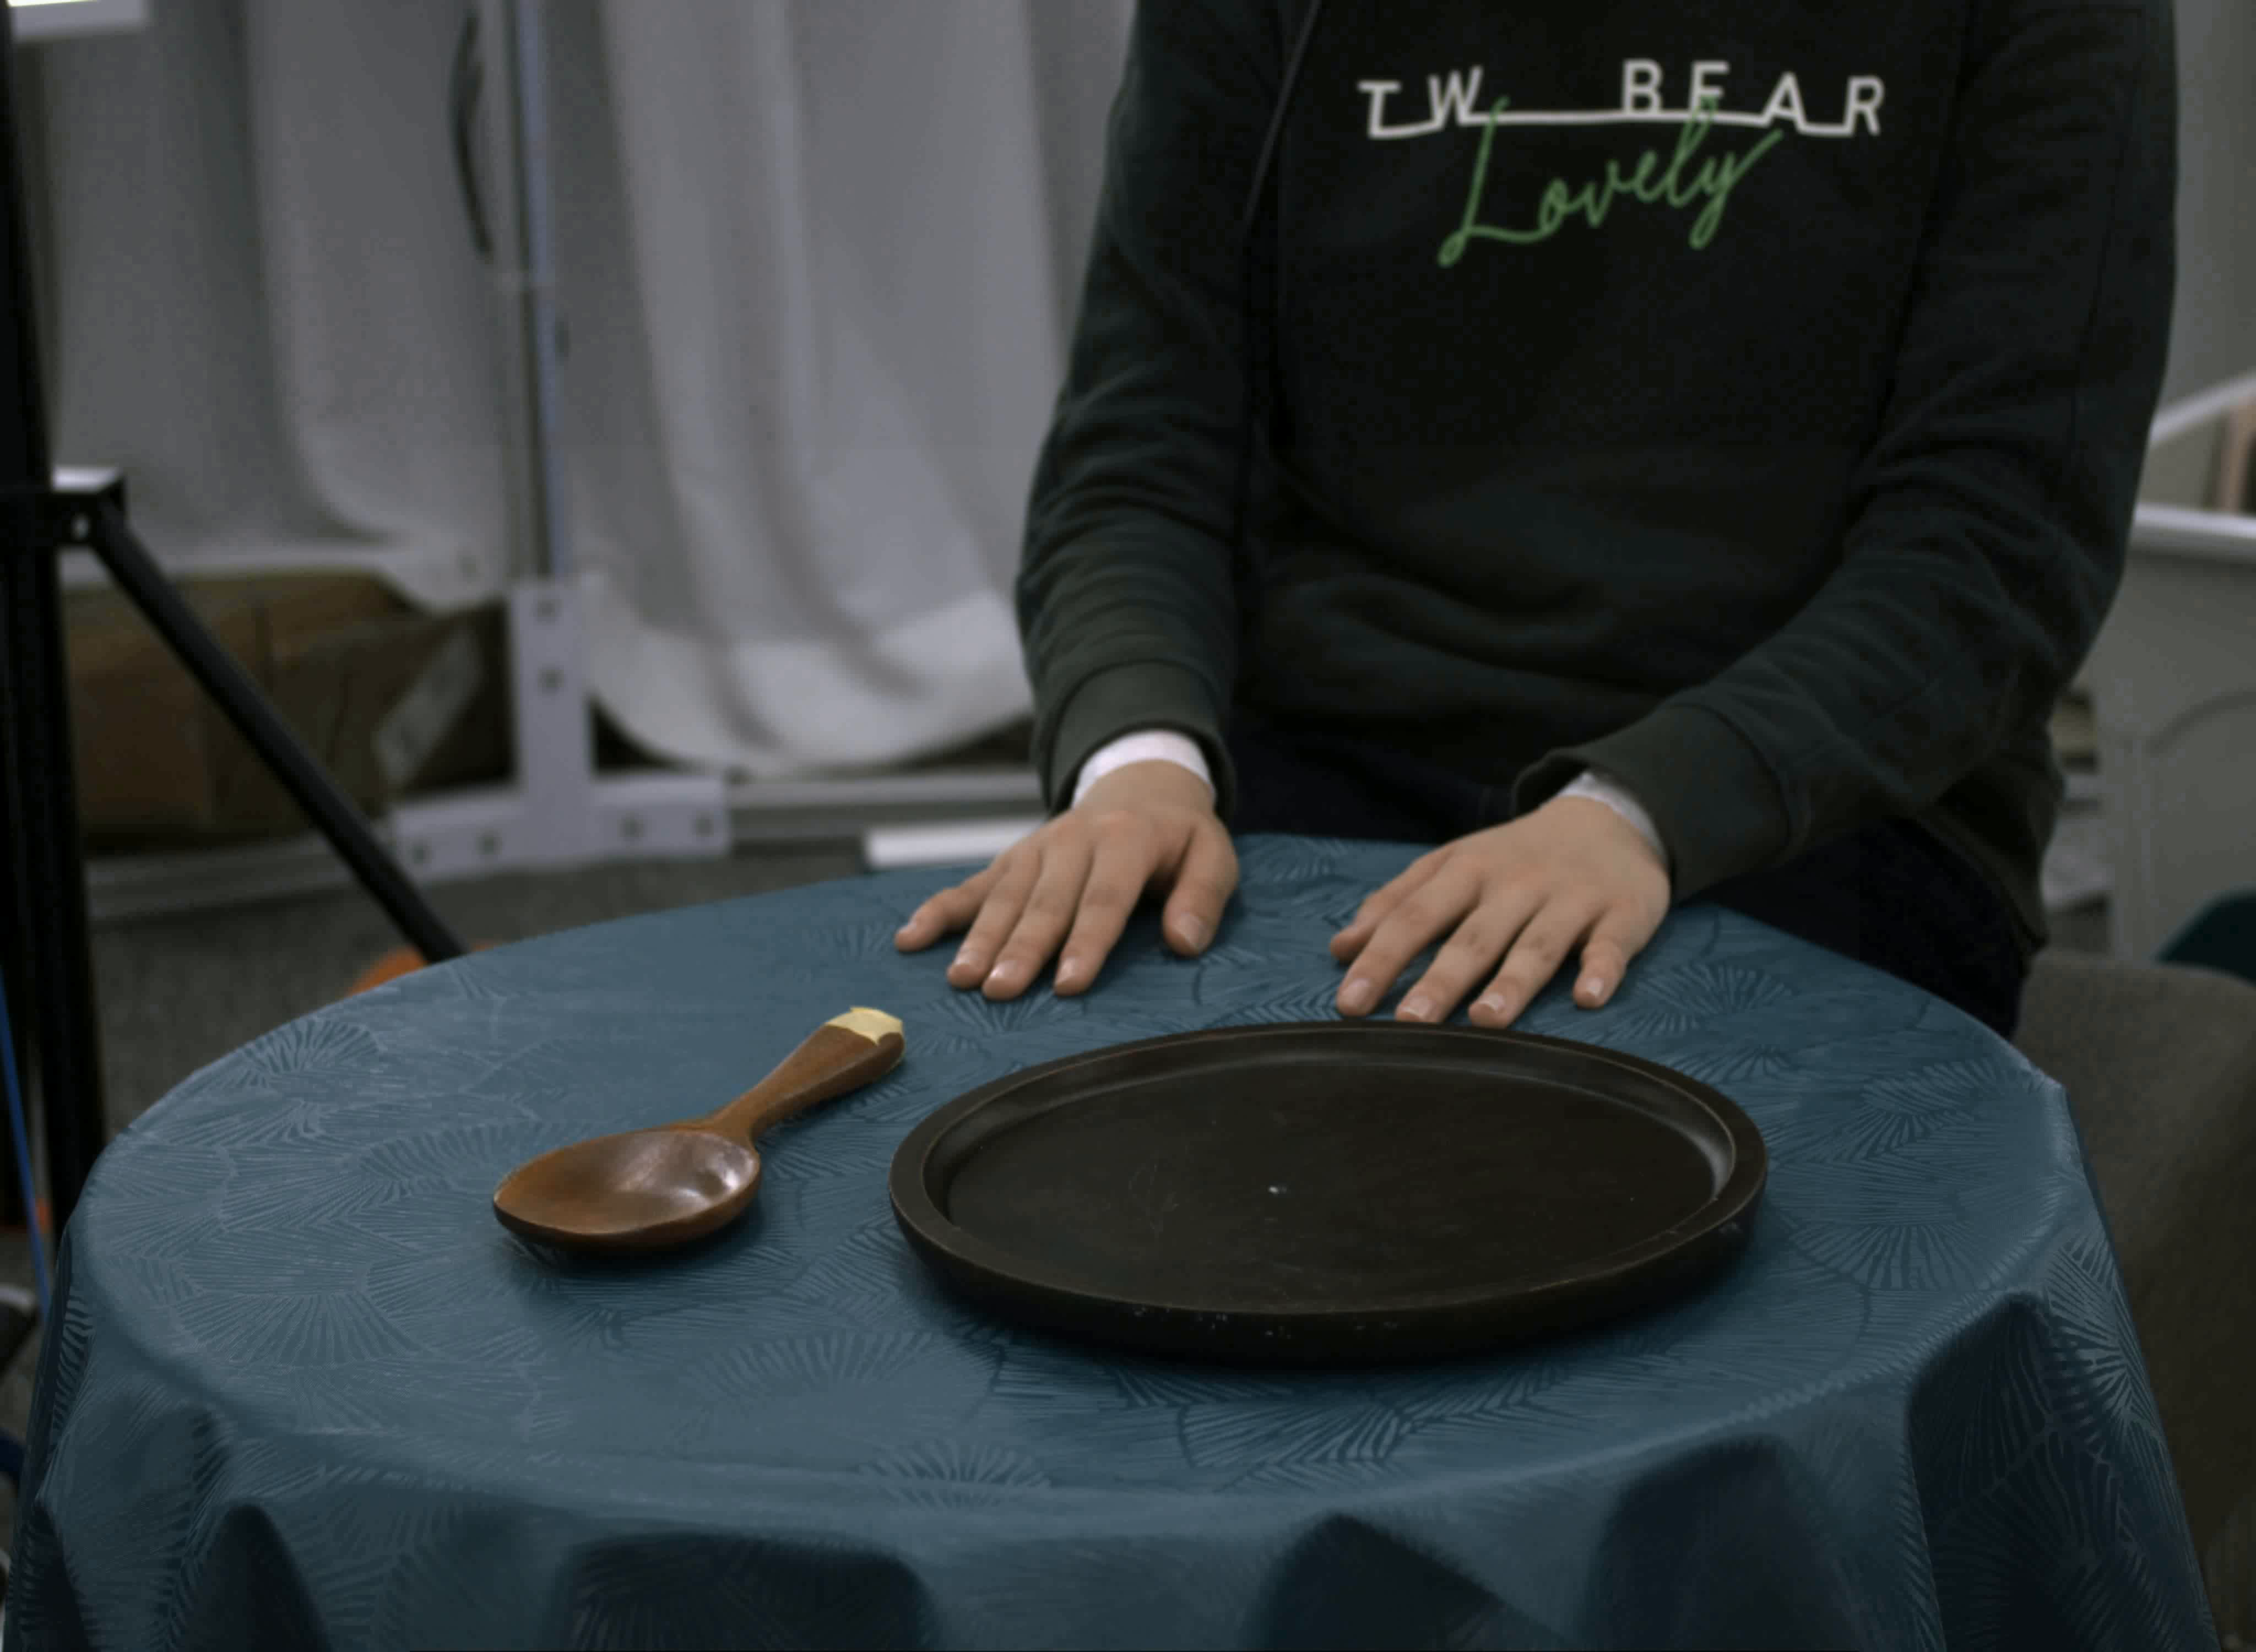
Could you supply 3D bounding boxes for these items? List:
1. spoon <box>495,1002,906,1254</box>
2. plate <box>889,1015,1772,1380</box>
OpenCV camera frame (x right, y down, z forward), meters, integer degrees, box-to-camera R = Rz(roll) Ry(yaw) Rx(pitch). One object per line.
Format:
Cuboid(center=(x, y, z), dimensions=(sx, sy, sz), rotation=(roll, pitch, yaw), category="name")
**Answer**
Cuboid(center=(-0.119, 0.092, 1.603), dimensions=(0.076, 0.017, 0.213), rotation=(4, 17, 23), category="spoon")
Cuboid(center=(0.058, 0.105, 1.519), dimensions=(0.253, 0.029, 0.256), rotation=(-2, 17, -1), category="plate")
